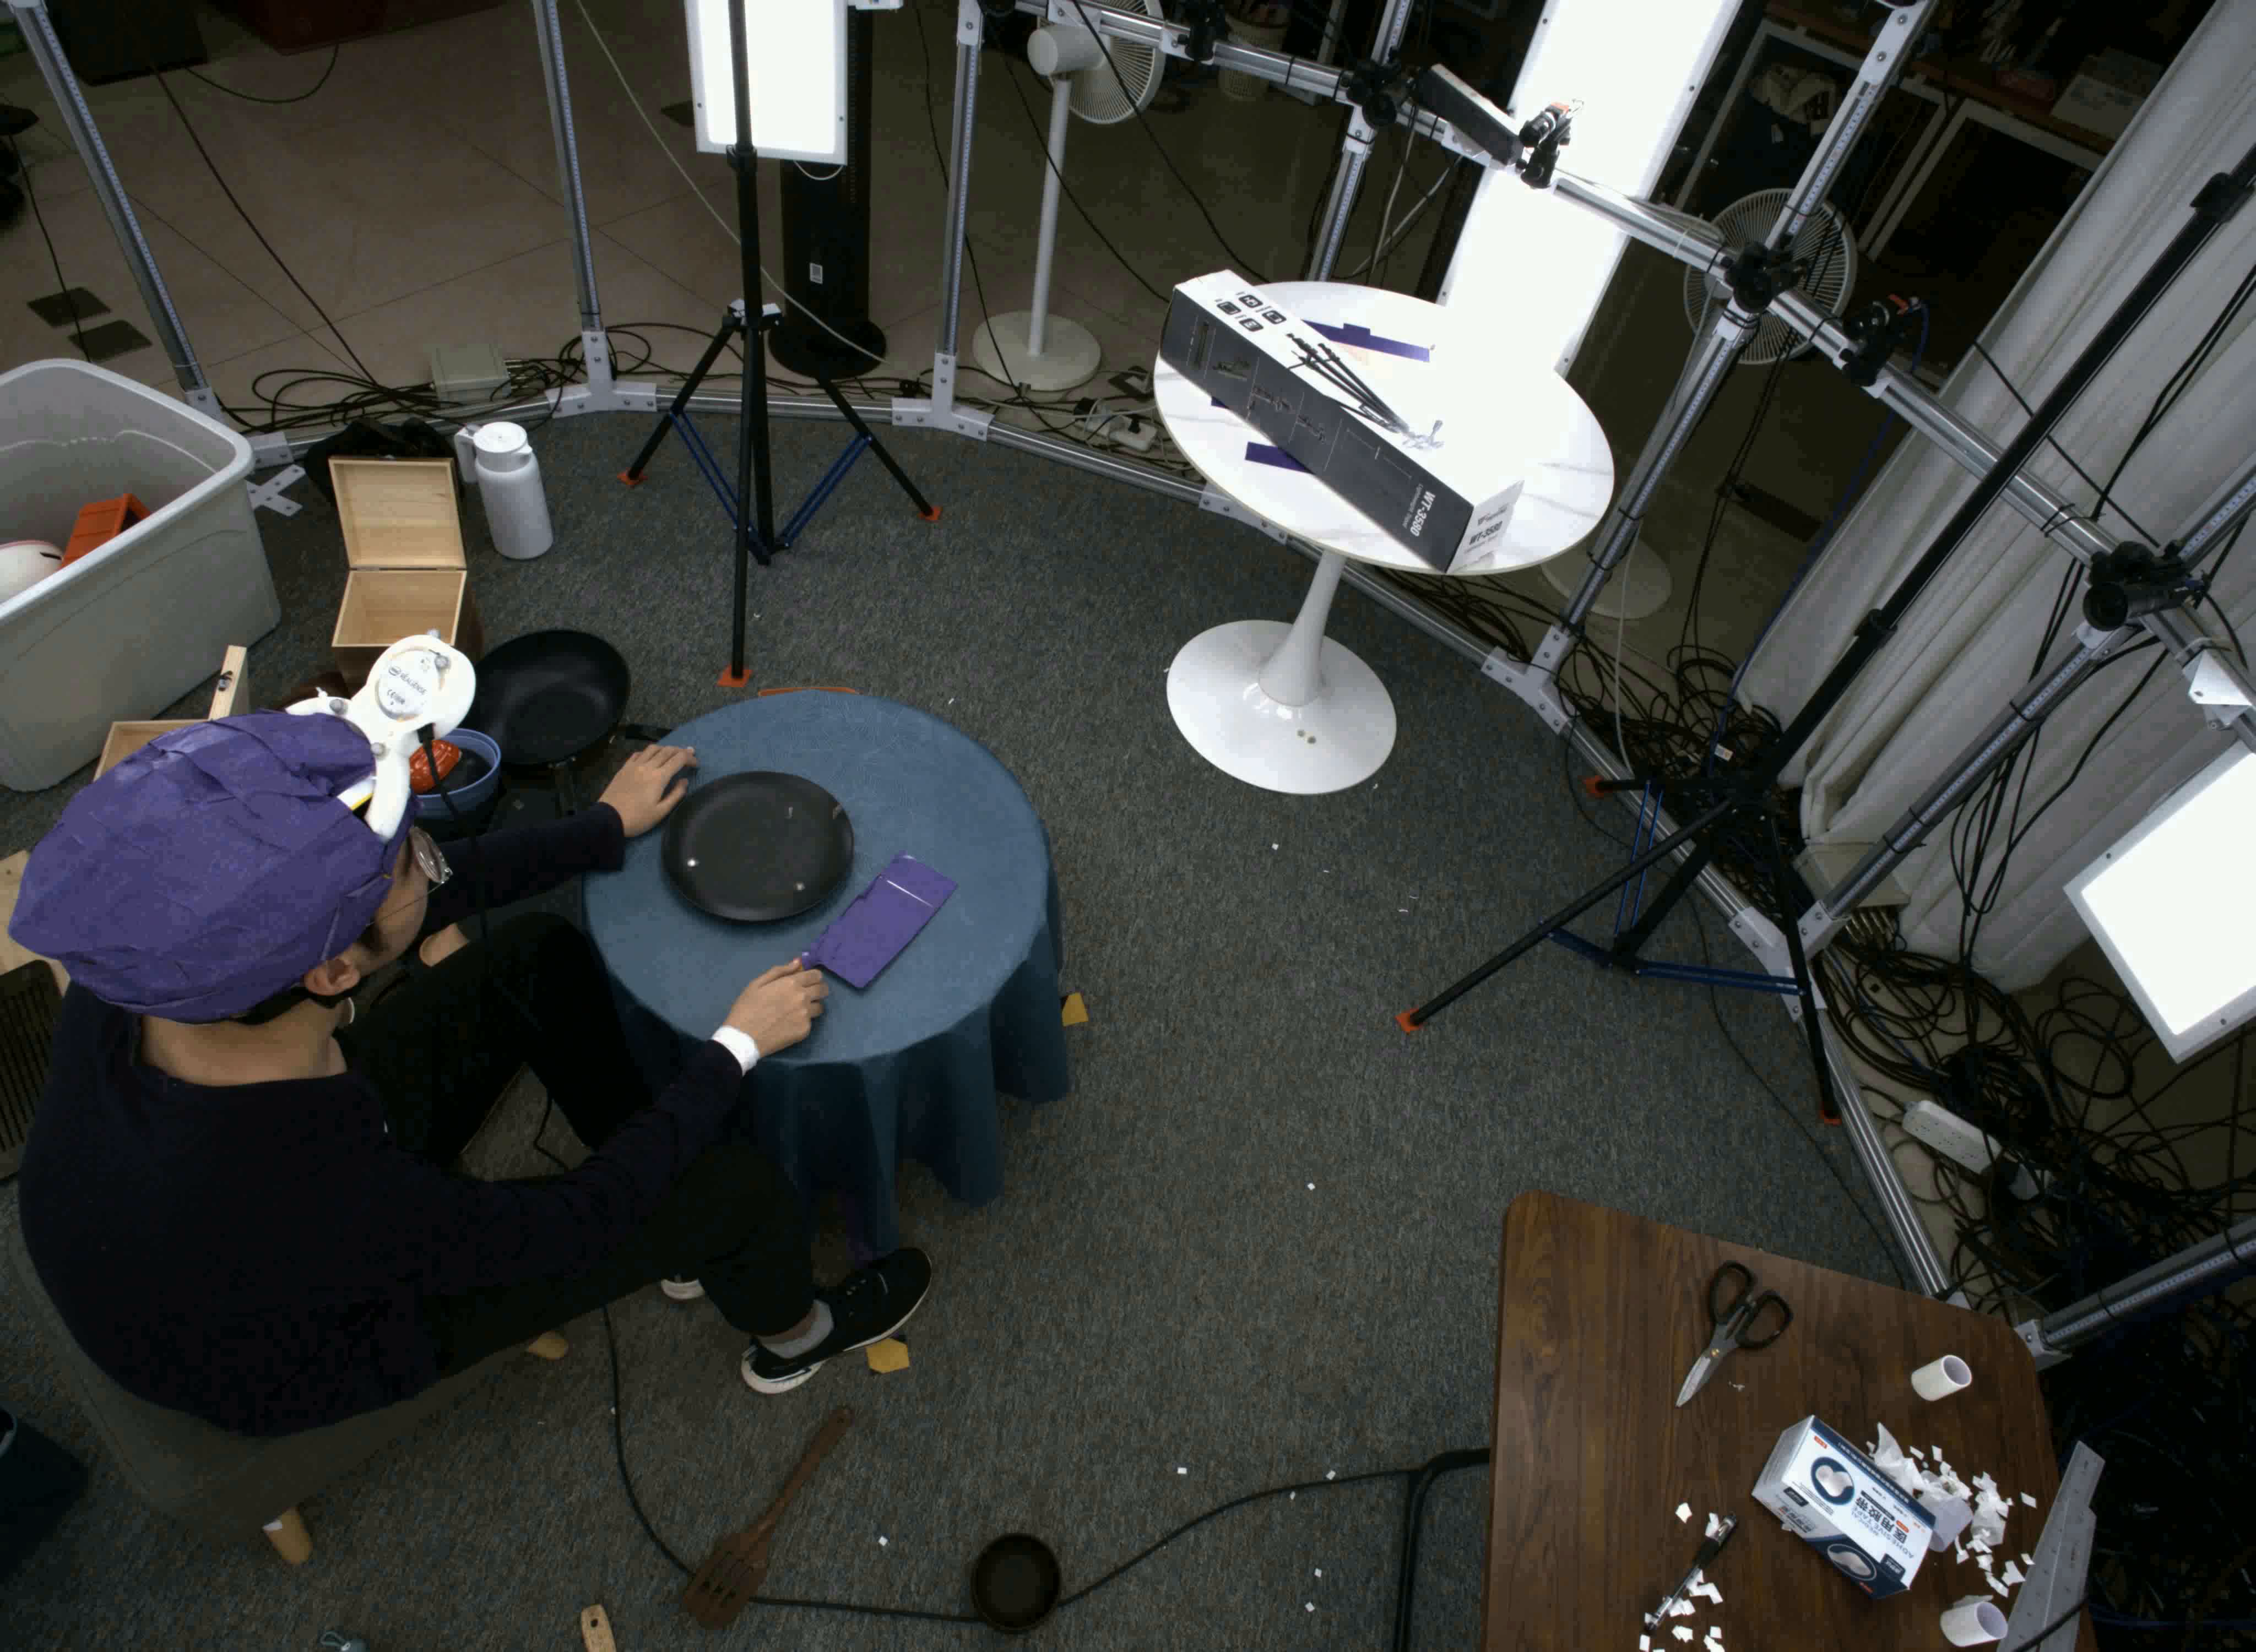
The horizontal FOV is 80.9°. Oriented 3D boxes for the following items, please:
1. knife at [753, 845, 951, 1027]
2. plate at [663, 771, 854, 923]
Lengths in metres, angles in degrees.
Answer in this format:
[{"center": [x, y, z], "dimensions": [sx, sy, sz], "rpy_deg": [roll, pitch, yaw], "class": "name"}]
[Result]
[{"center": [-0.337, 0.143, 1.634], "dimensions": [0.102, 0.033, 0.314], "rpy_deg": [30, 52, 9], "class": "knife"}, {"center": [-0.479, 0.028, 1.685], "dimensions": [0.244, 0.024, 0.240], "rpy_deg": [8, 53, -9], "class": "plate"}]
